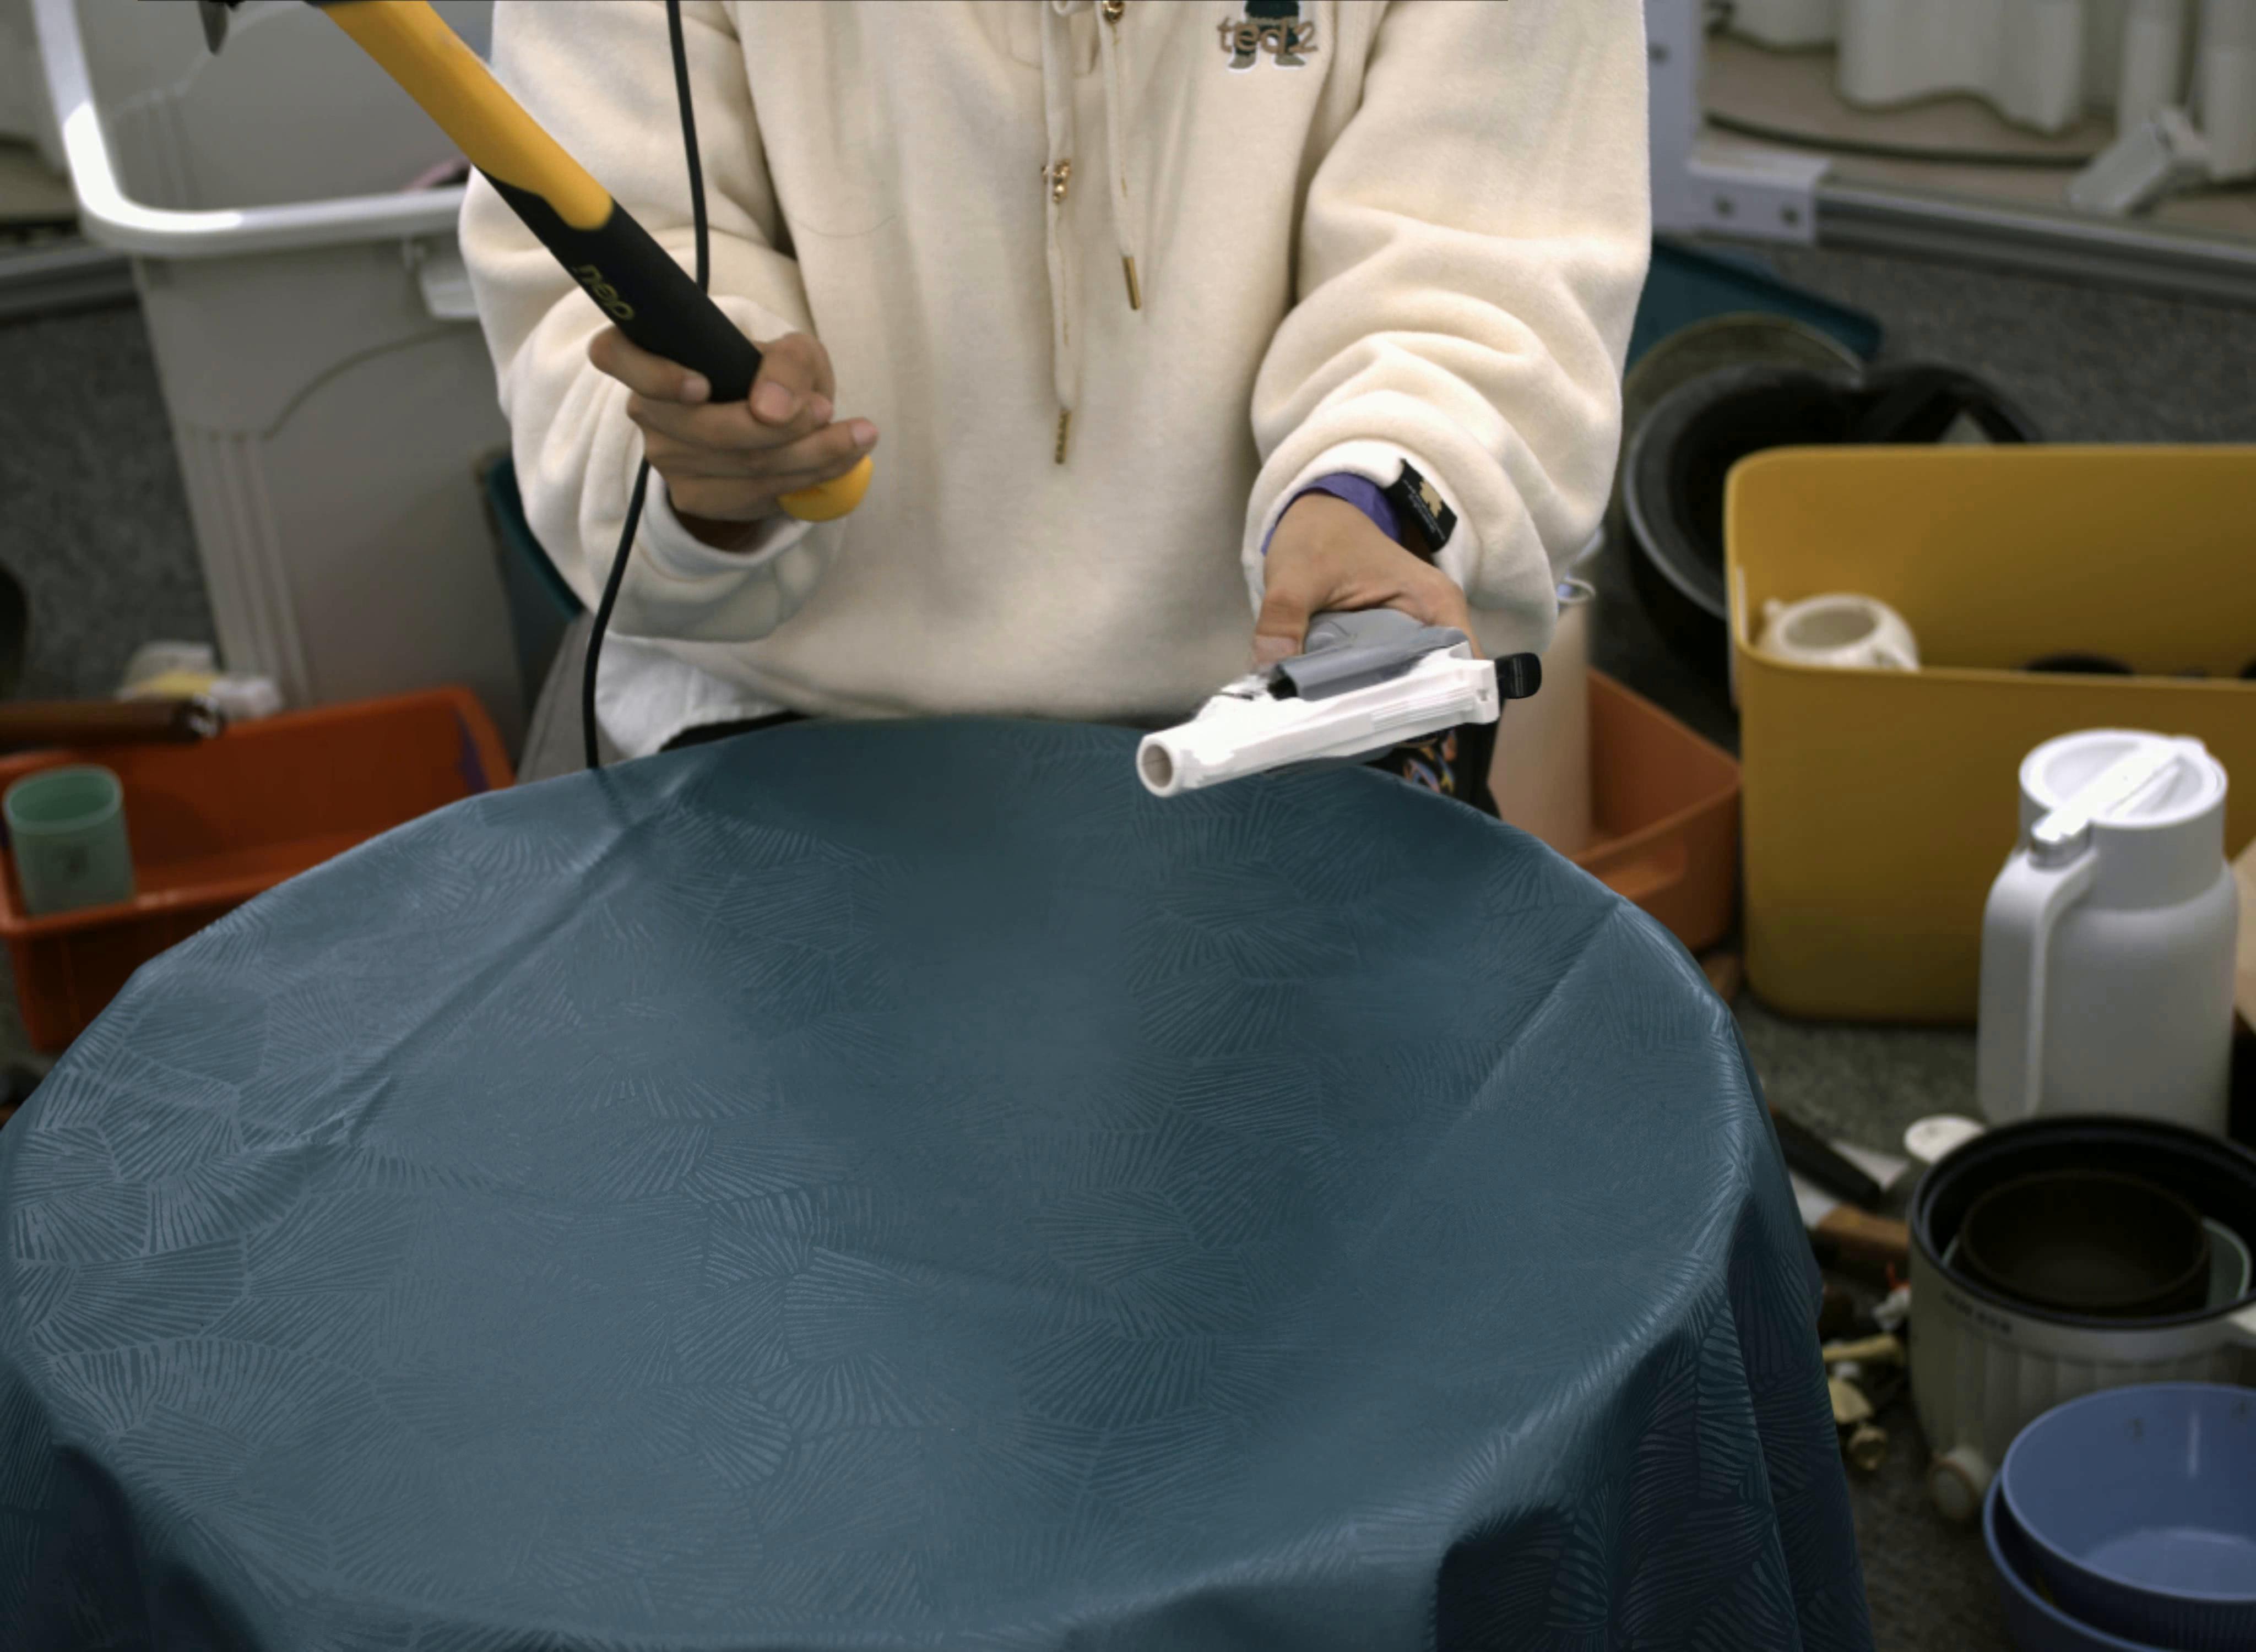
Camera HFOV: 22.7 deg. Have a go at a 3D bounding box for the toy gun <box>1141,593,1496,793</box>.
[{"bbox_3d":[0.049,-0.044,1.834,0.140,0.039,0.211,6,15,43],"label":"toy gun"}]

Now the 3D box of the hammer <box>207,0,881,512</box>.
[{"bbox_3d":[-0.189,-0.214,1.932,0.130,0.336,0.033,-5,54,35],"label":"hammer"}]
